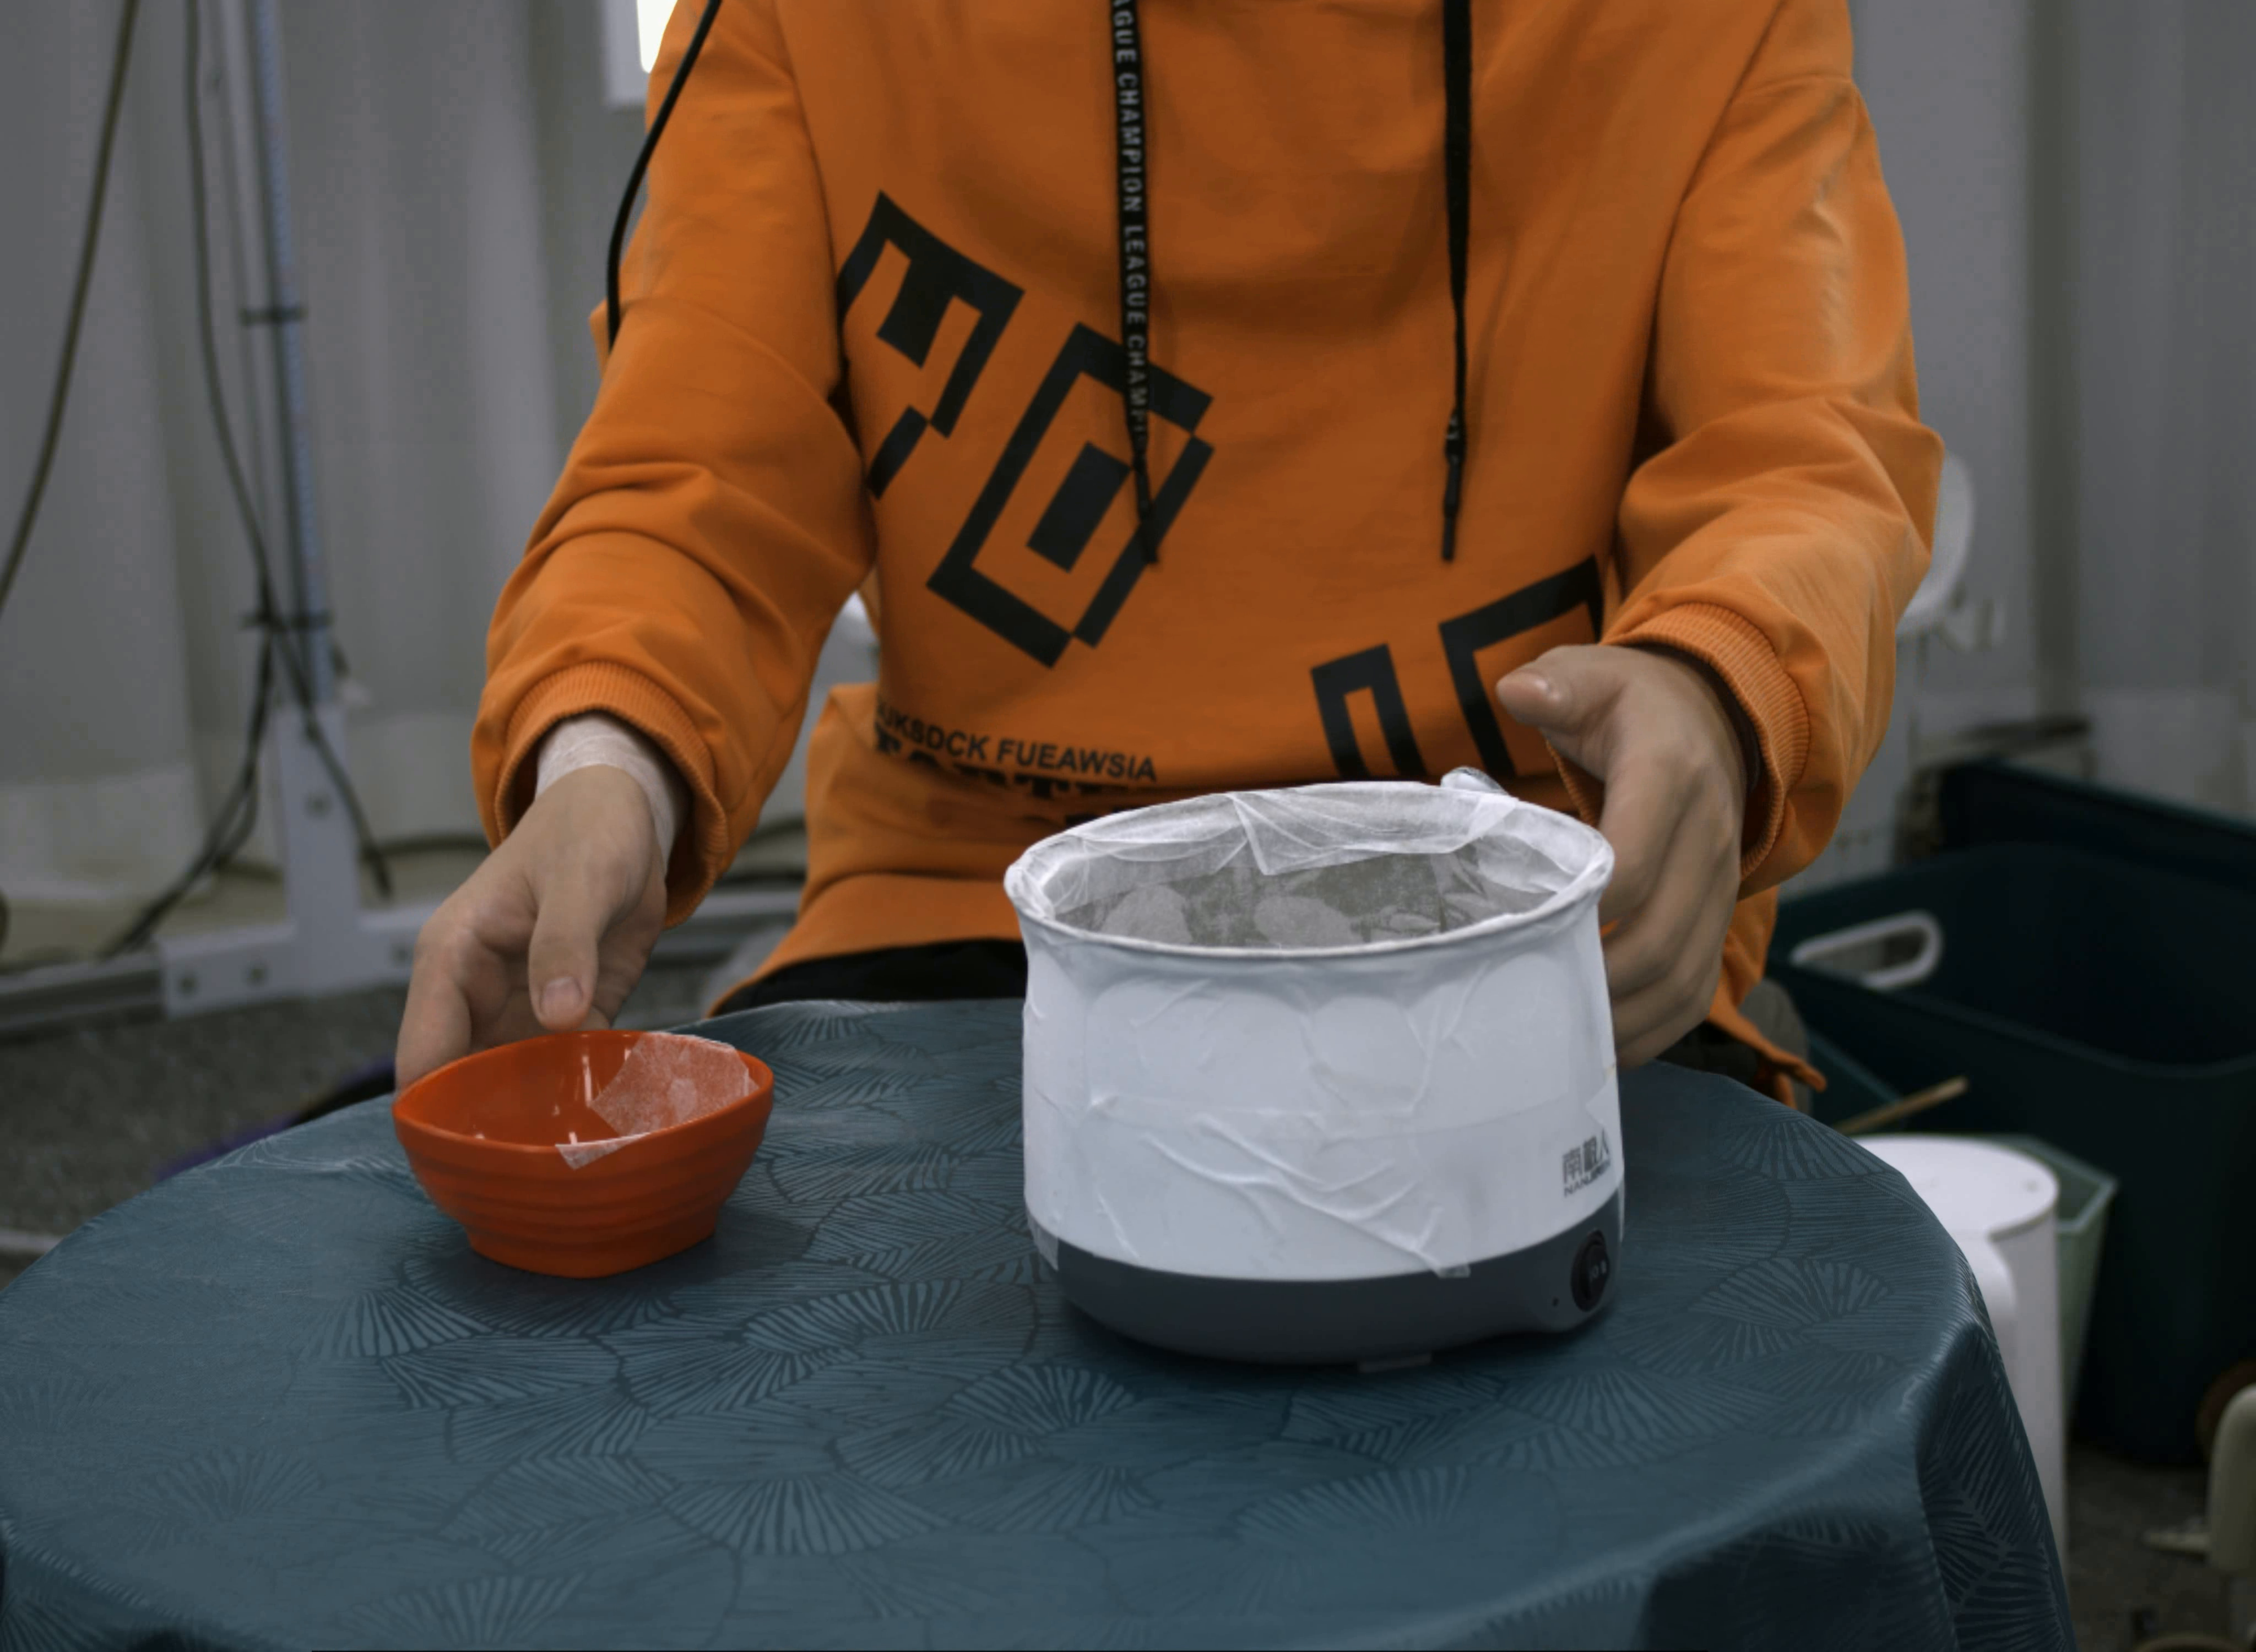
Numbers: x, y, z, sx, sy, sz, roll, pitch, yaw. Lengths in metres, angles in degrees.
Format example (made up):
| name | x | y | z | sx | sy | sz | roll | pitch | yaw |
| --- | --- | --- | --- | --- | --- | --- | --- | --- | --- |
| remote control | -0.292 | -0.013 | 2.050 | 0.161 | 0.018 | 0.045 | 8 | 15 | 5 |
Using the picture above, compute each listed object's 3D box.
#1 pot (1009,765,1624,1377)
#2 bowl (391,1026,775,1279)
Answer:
| name | x | y | z | sx | sy | sz | roll | pitch | yaw |
| --- | --- | --- | --- | --- | --- | --- | --- | --- | --- |
| pot | 0.069 | 0.066 | 1.622 | 0.179 | 0.136 | 0.234 | 6 | 17 | 29 |
| bowl | -0.166 | 0.103 | 1.692 | 0.118 | 0.051 | 0.120 | -4 | 15 | 1 |
